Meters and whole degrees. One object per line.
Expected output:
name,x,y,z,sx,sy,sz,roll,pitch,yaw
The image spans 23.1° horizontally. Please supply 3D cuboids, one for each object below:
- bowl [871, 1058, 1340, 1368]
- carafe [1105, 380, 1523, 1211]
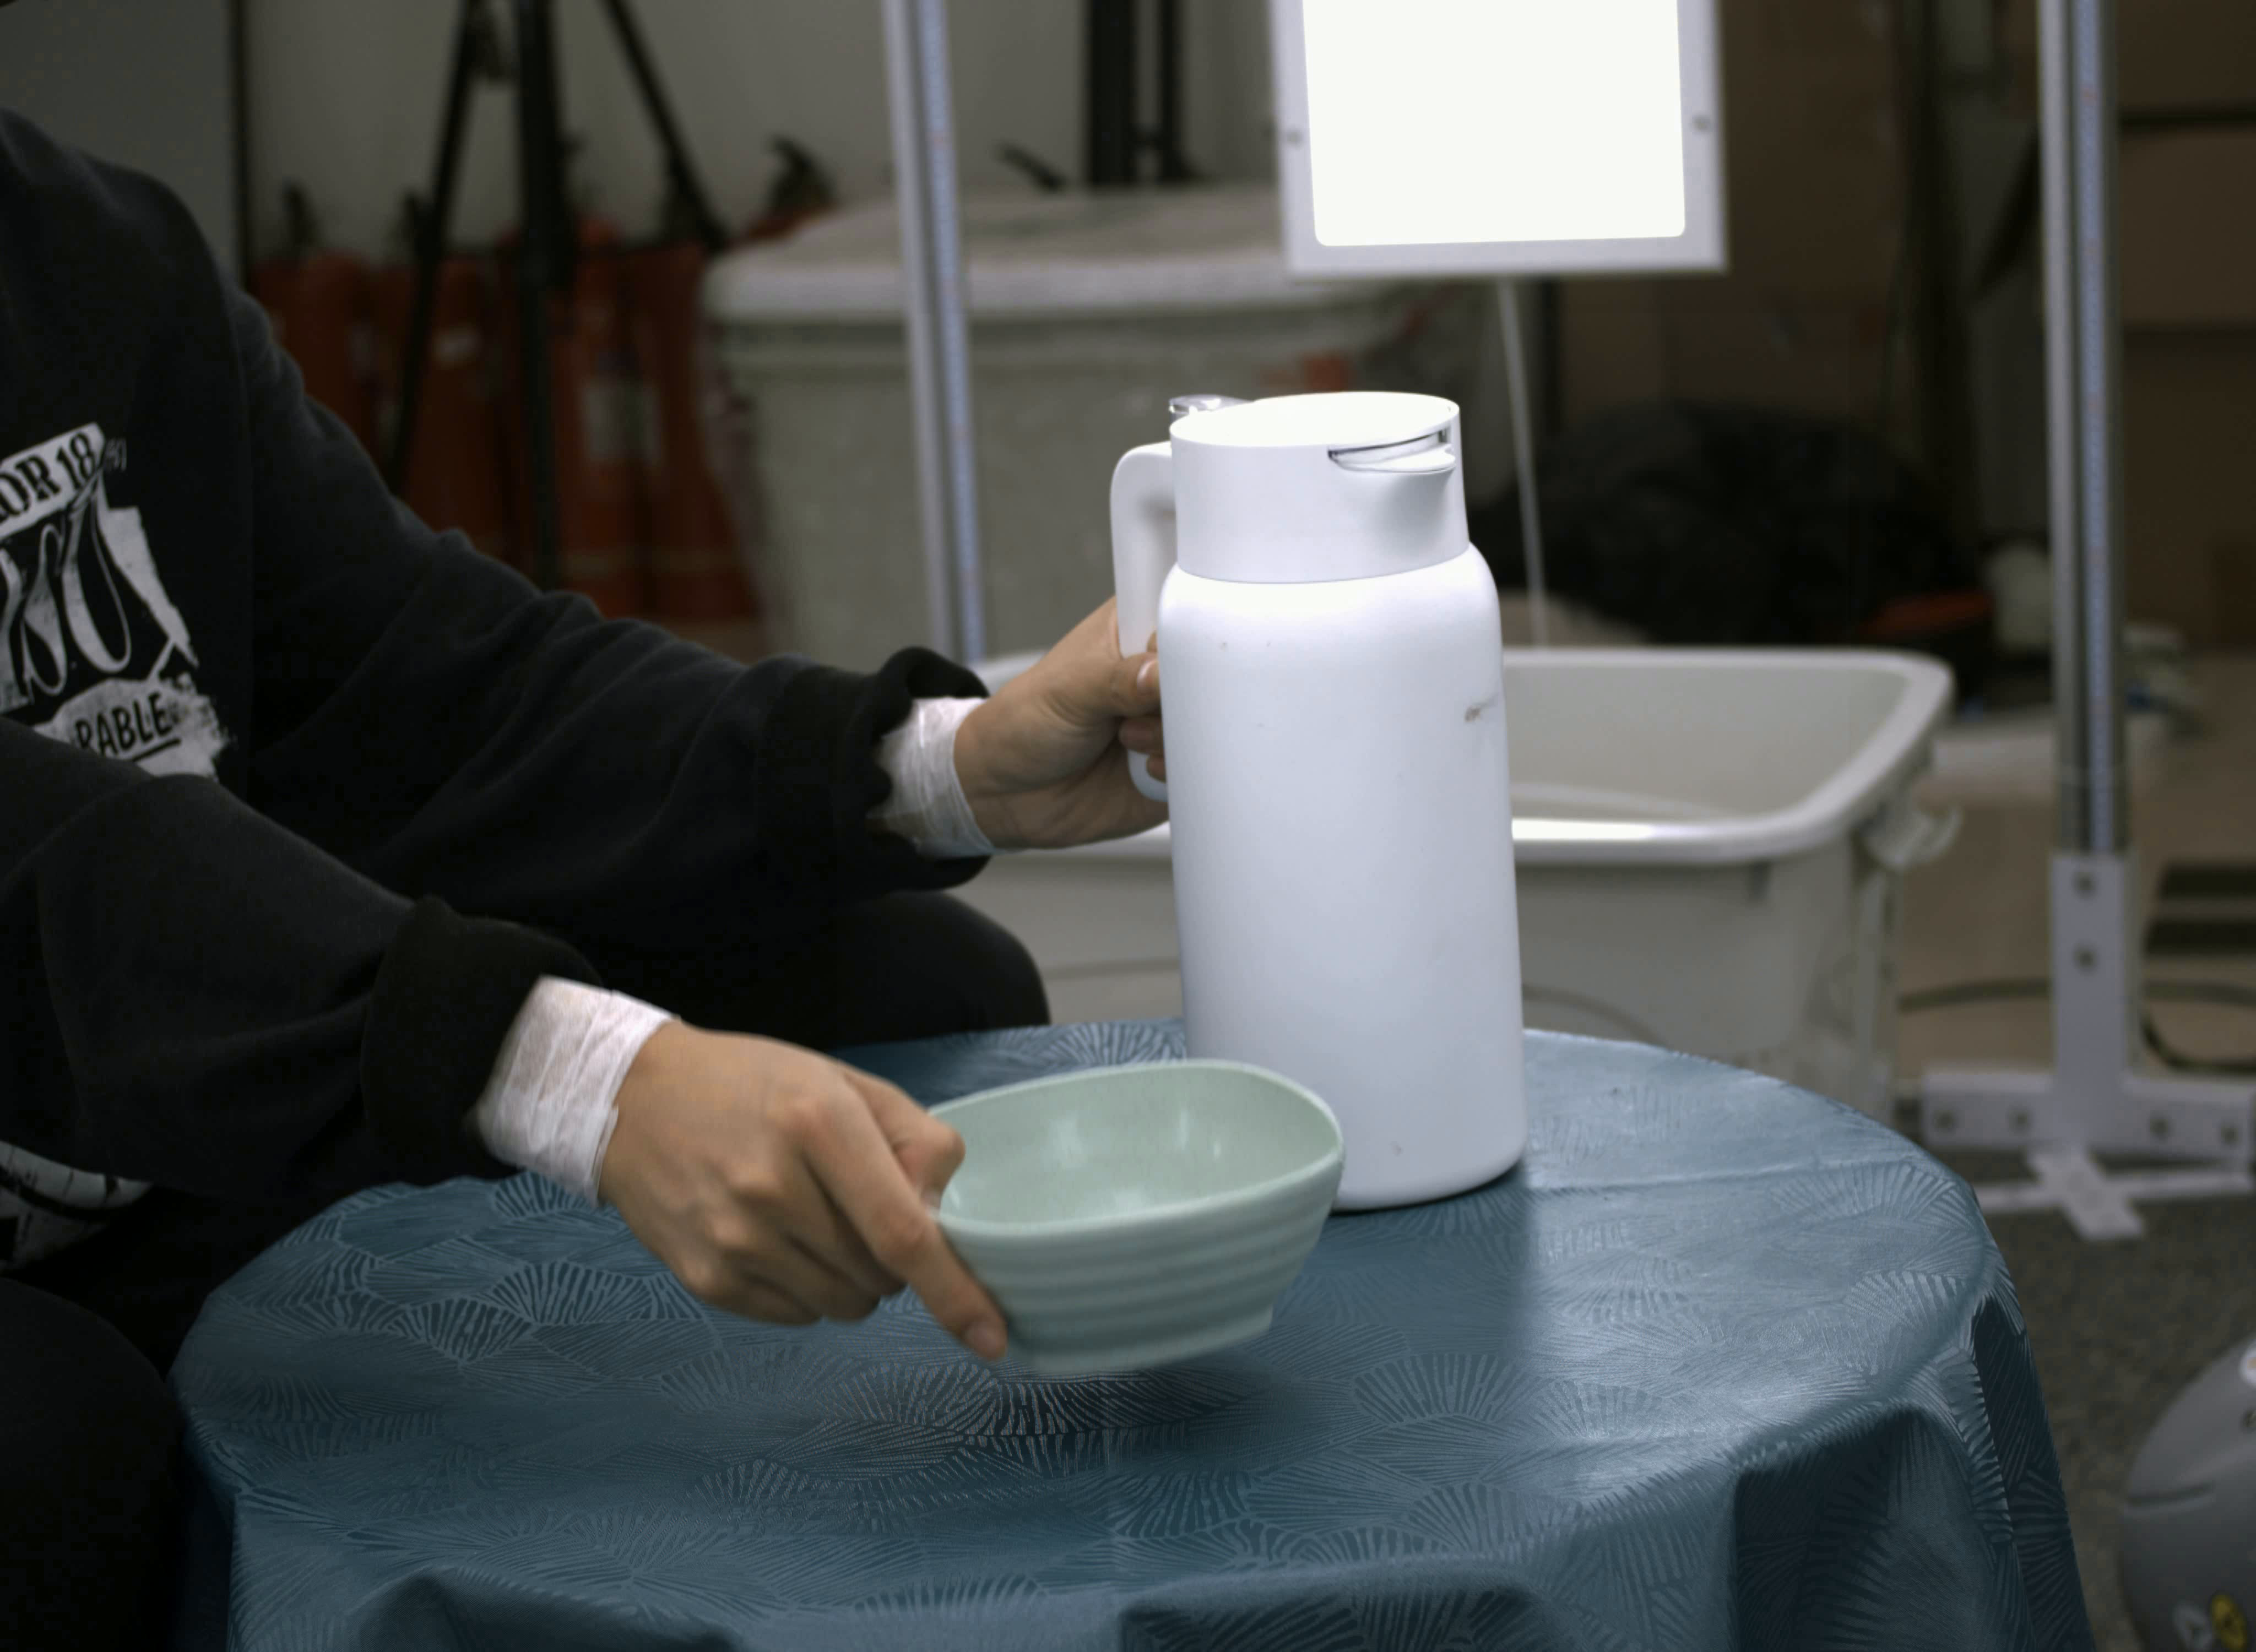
bowl,-0.005,0.121,1.681,0.151,0.059,0.151,-6,15,0
carafe,0.059,-0.013,1.884,0.121,0.270,0.176,-17,18,-34
